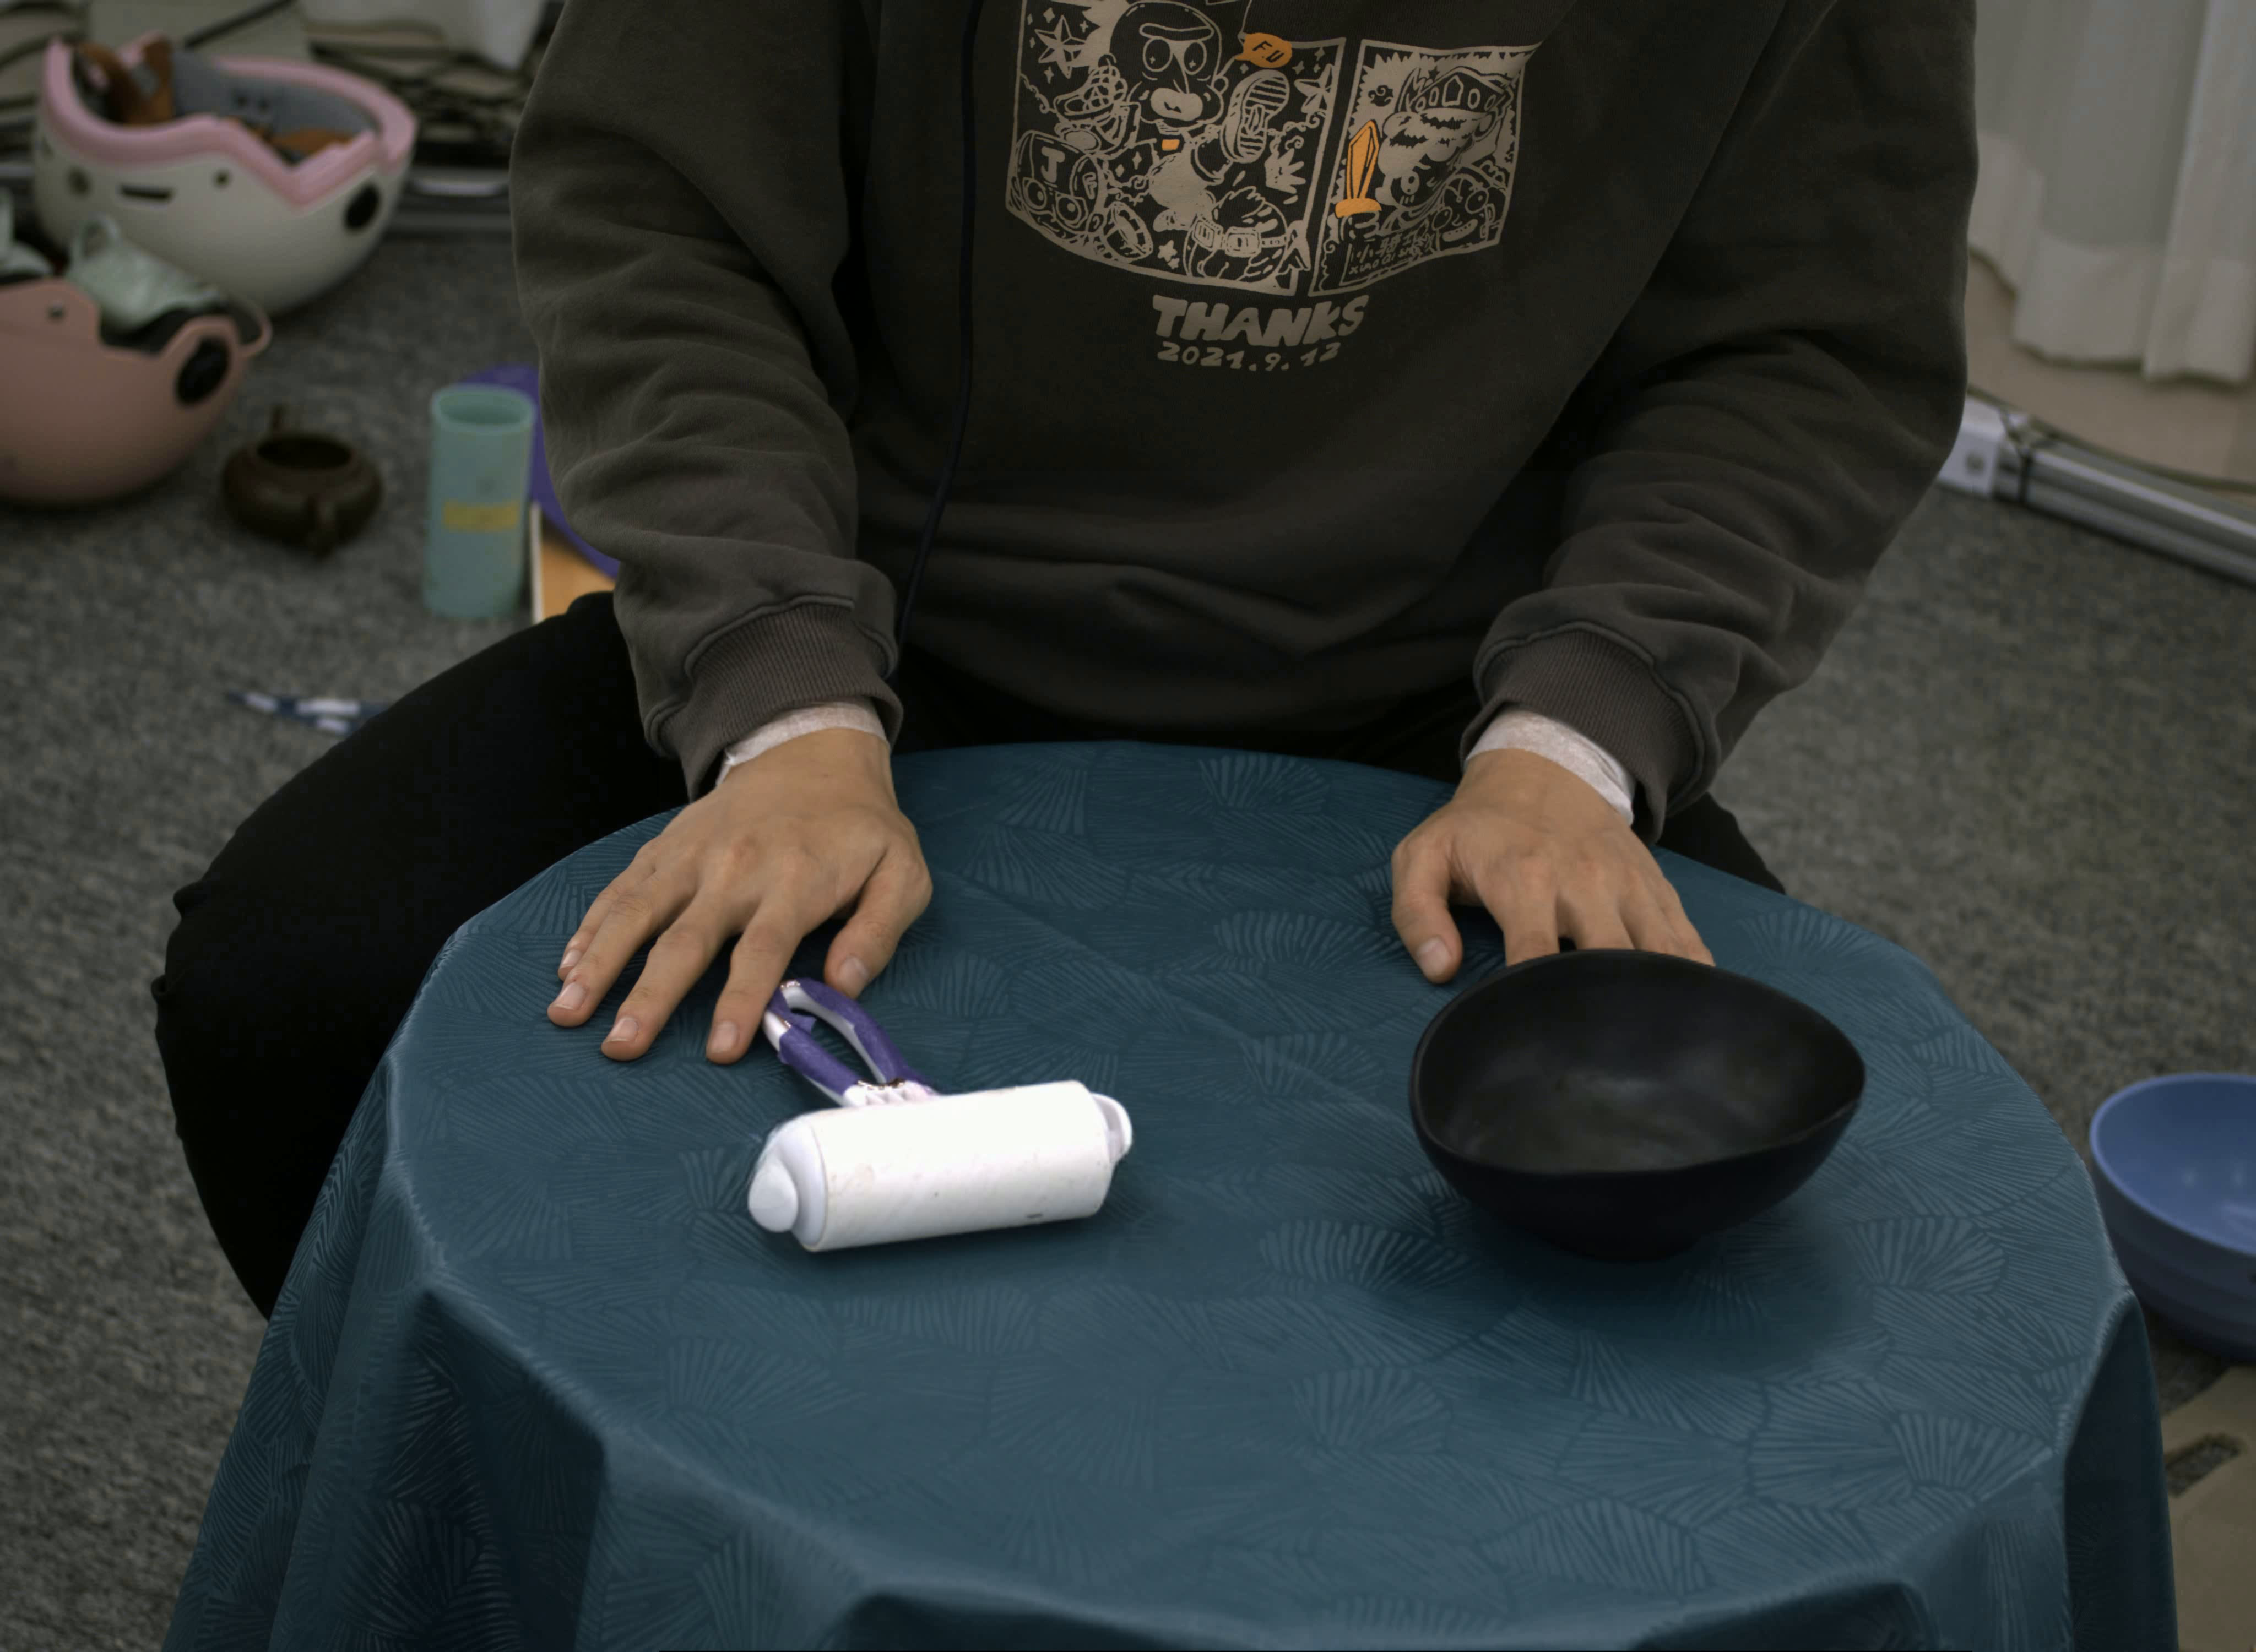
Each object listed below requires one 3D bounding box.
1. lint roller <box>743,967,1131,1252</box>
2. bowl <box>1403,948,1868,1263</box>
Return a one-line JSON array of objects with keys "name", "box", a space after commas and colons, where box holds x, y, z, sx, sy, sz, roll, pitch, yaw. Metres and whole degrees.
[{"name": "lint roller", "box": [-0.084, 0.081, 1.815, 0.132, 0.050, 0.182, -5, 31, -21]}, {"name": "bowl", "box": [0.170, 0.105, 1.810, 0.169, 0.066, 0.138, -16, 33, -34]}]
